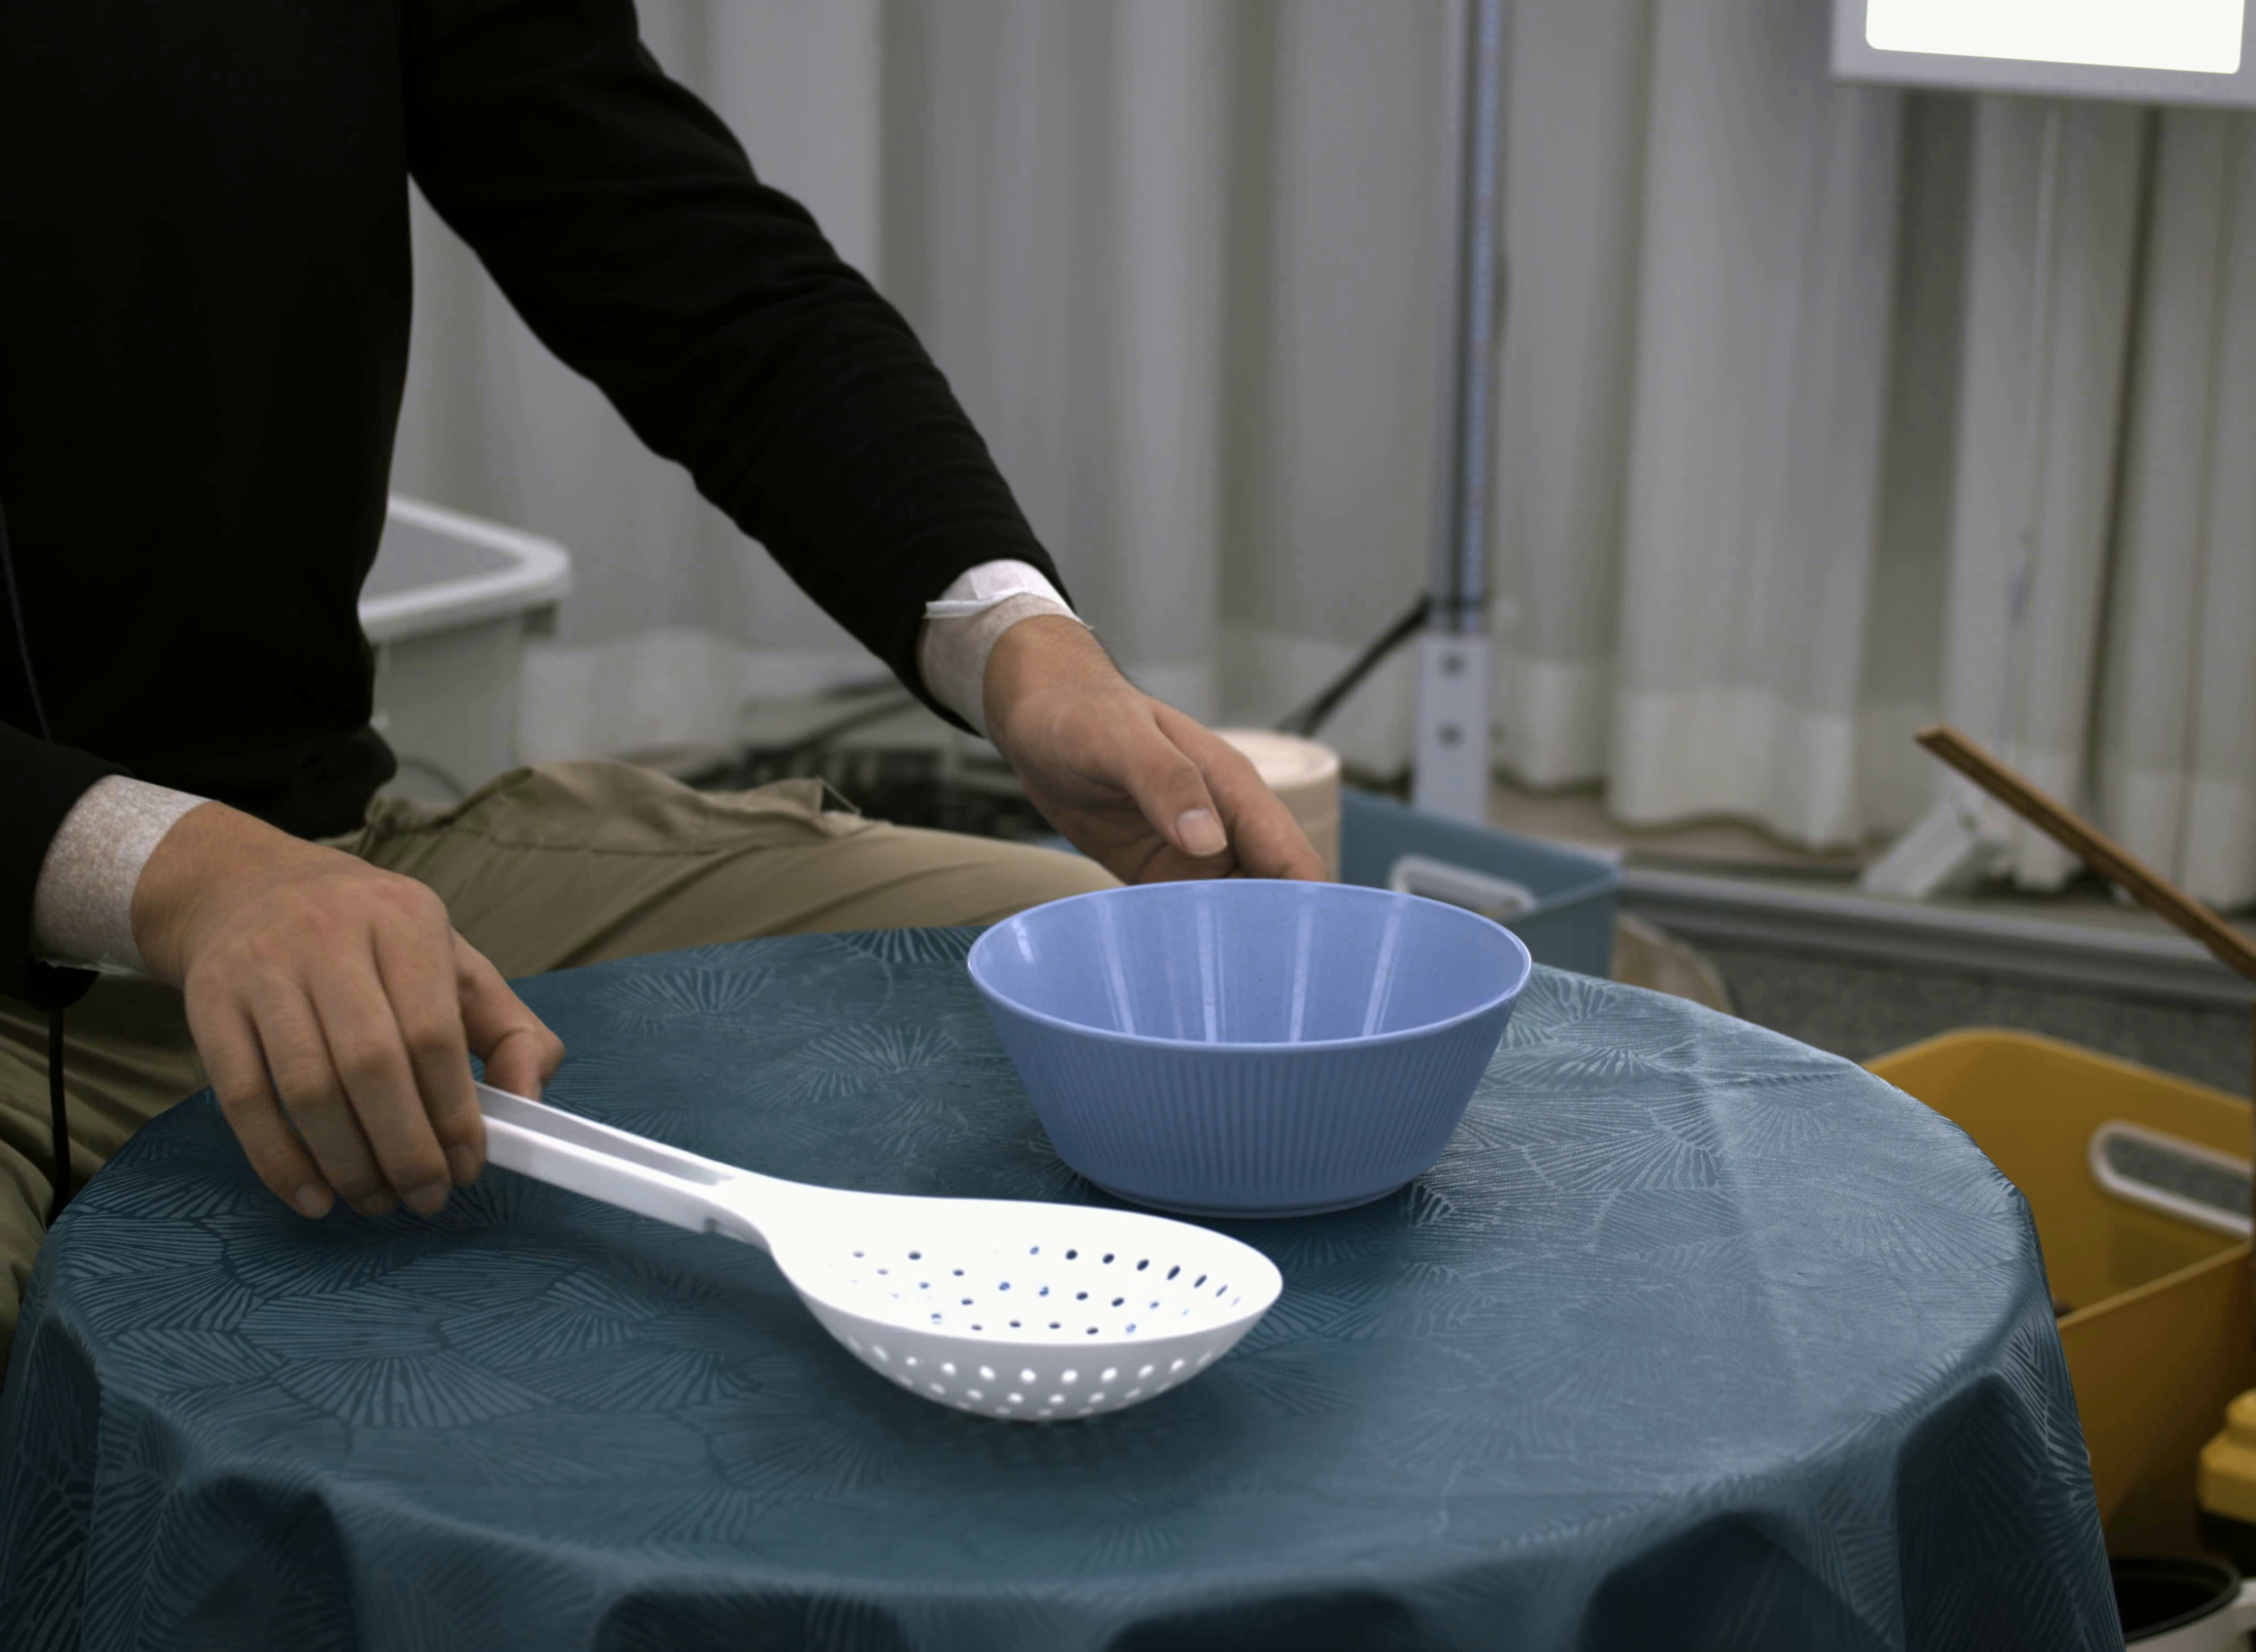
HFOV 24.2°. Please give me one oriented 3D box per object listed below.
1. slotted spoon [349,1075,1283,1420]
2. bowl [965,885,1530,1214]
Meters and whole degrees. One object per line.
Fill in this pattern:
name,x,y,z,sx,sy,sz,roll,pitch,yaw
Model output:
slotted spoon,-0.105,0.111,1.507,0.345,0.046,0.137,18,19,39
bowl,0.037,0.072,1.639,0.175,0.071,0.175,0,15,1
